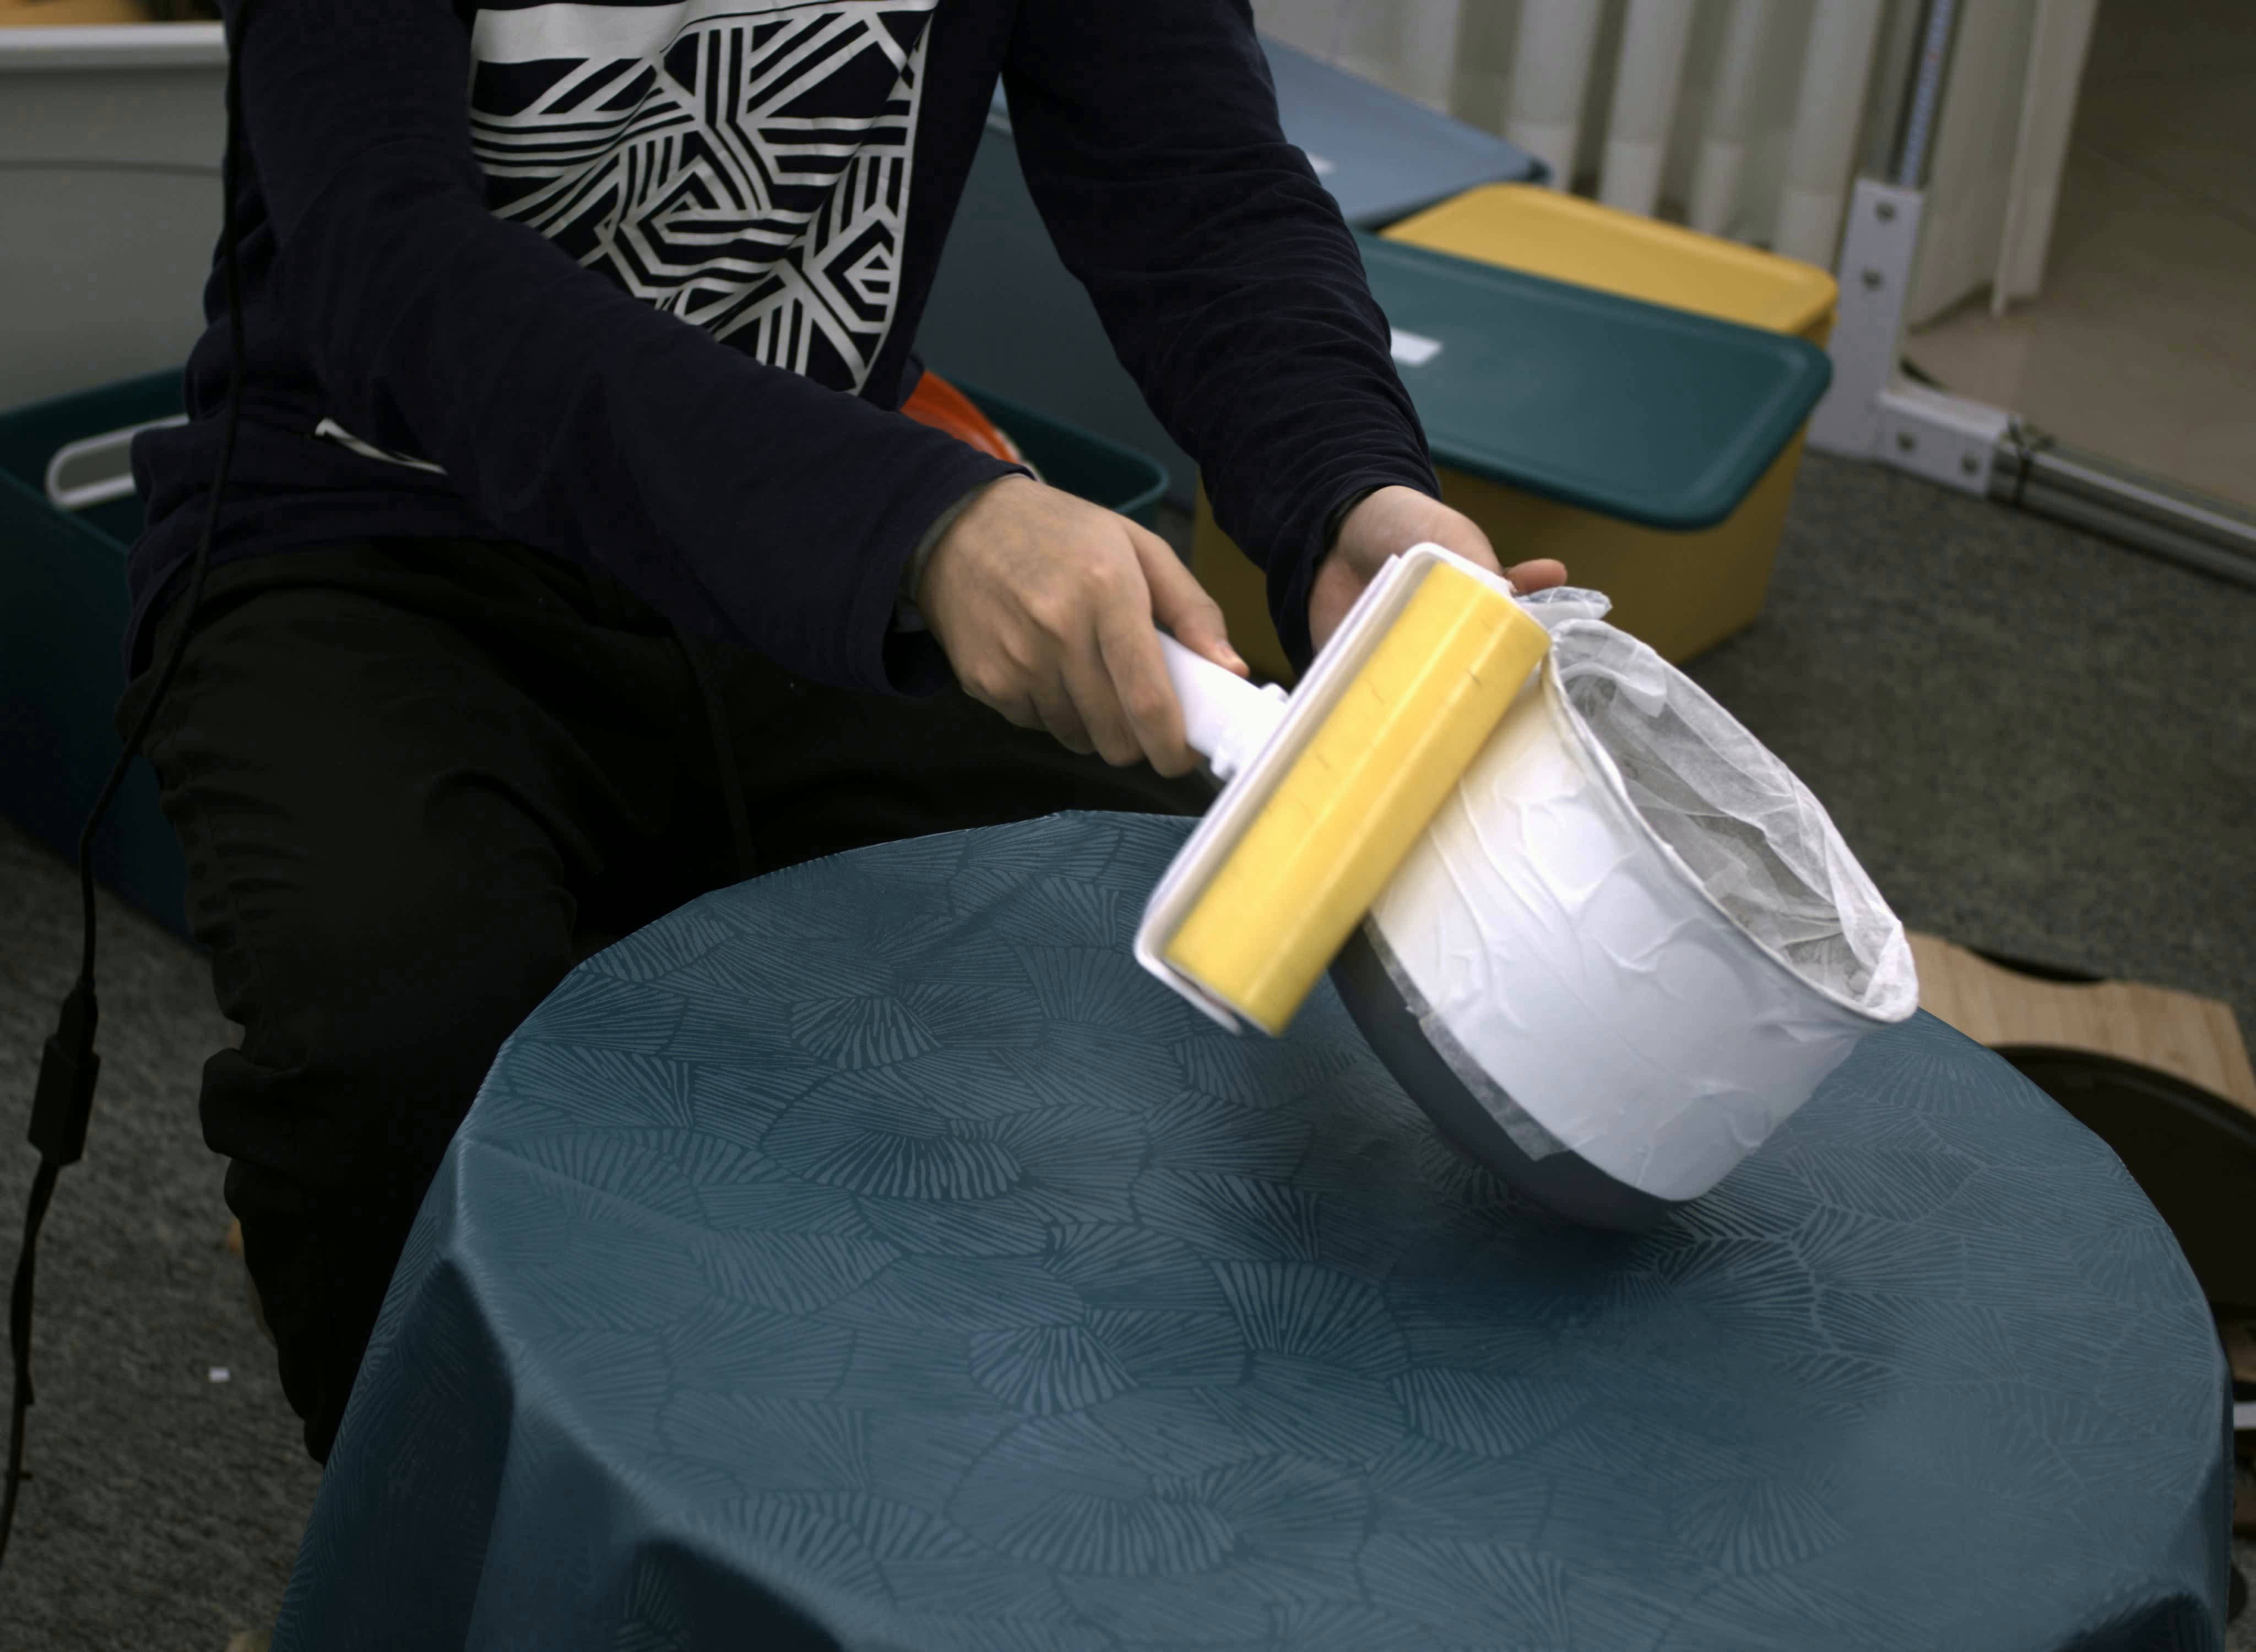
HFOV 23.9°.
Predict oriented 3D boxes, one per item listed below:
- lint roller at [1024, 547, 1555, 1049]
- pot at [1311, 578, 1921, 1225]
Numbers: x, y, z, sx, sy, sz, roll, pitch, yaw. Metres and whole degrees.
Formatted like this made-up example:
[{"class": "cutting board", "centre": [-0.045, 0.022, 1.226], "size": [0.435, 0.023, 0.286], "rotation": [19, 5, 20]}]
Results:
[{"class": "lint roller", "centre": [0.027, -0.037, 1.787], "size": [0.193, 0.174, 0.051], "rotation": [31, -4, 34]}, {"class": "pot", "centre": [0.149, 0.014, 1.813], "size": [0.177, 0.136, 0.236], "rotation": [20, 34, -53]}]
